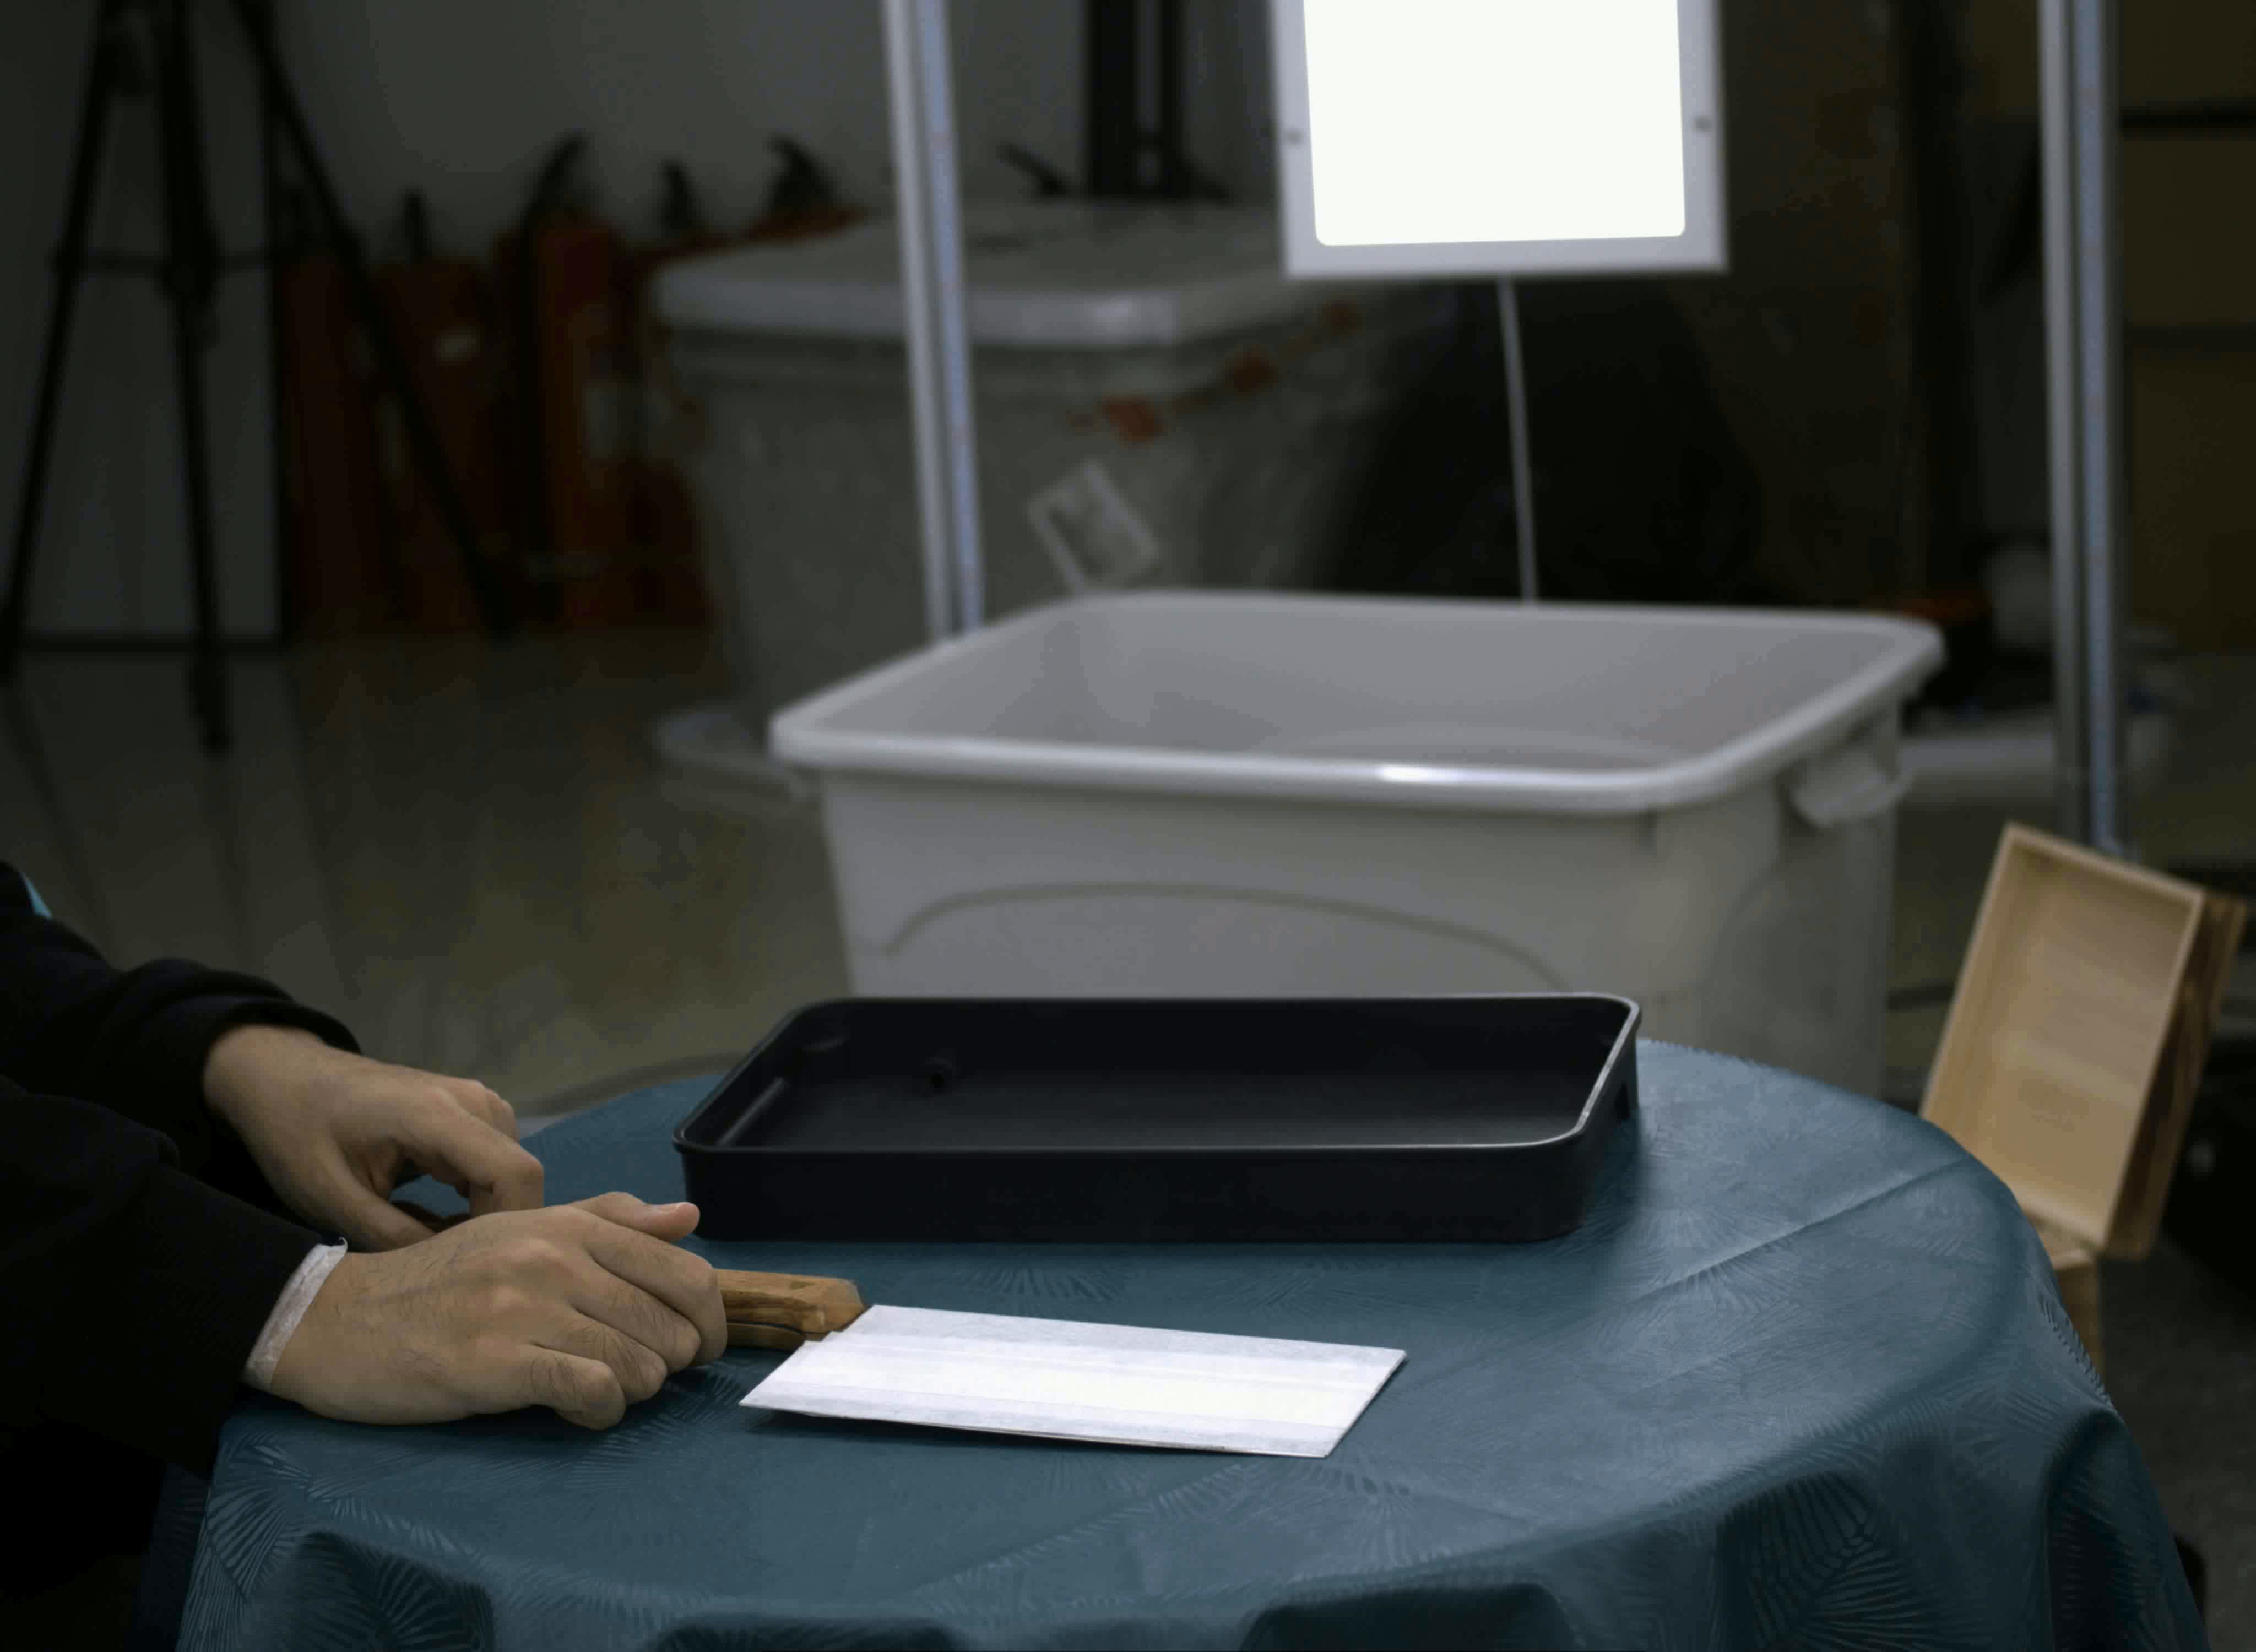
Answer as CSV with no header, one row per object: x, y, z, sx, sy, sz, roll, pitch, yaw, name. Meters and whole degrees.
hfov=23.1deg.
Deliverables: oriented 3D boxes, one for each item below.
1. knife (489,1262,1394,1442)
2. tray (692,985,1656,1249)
-0.070,0.167,1.725,0.310,0.021,0.091,3,17,21,knife
0.020,0.100,1.920,0.321,0.037,0.182,-2,15,14,tray
